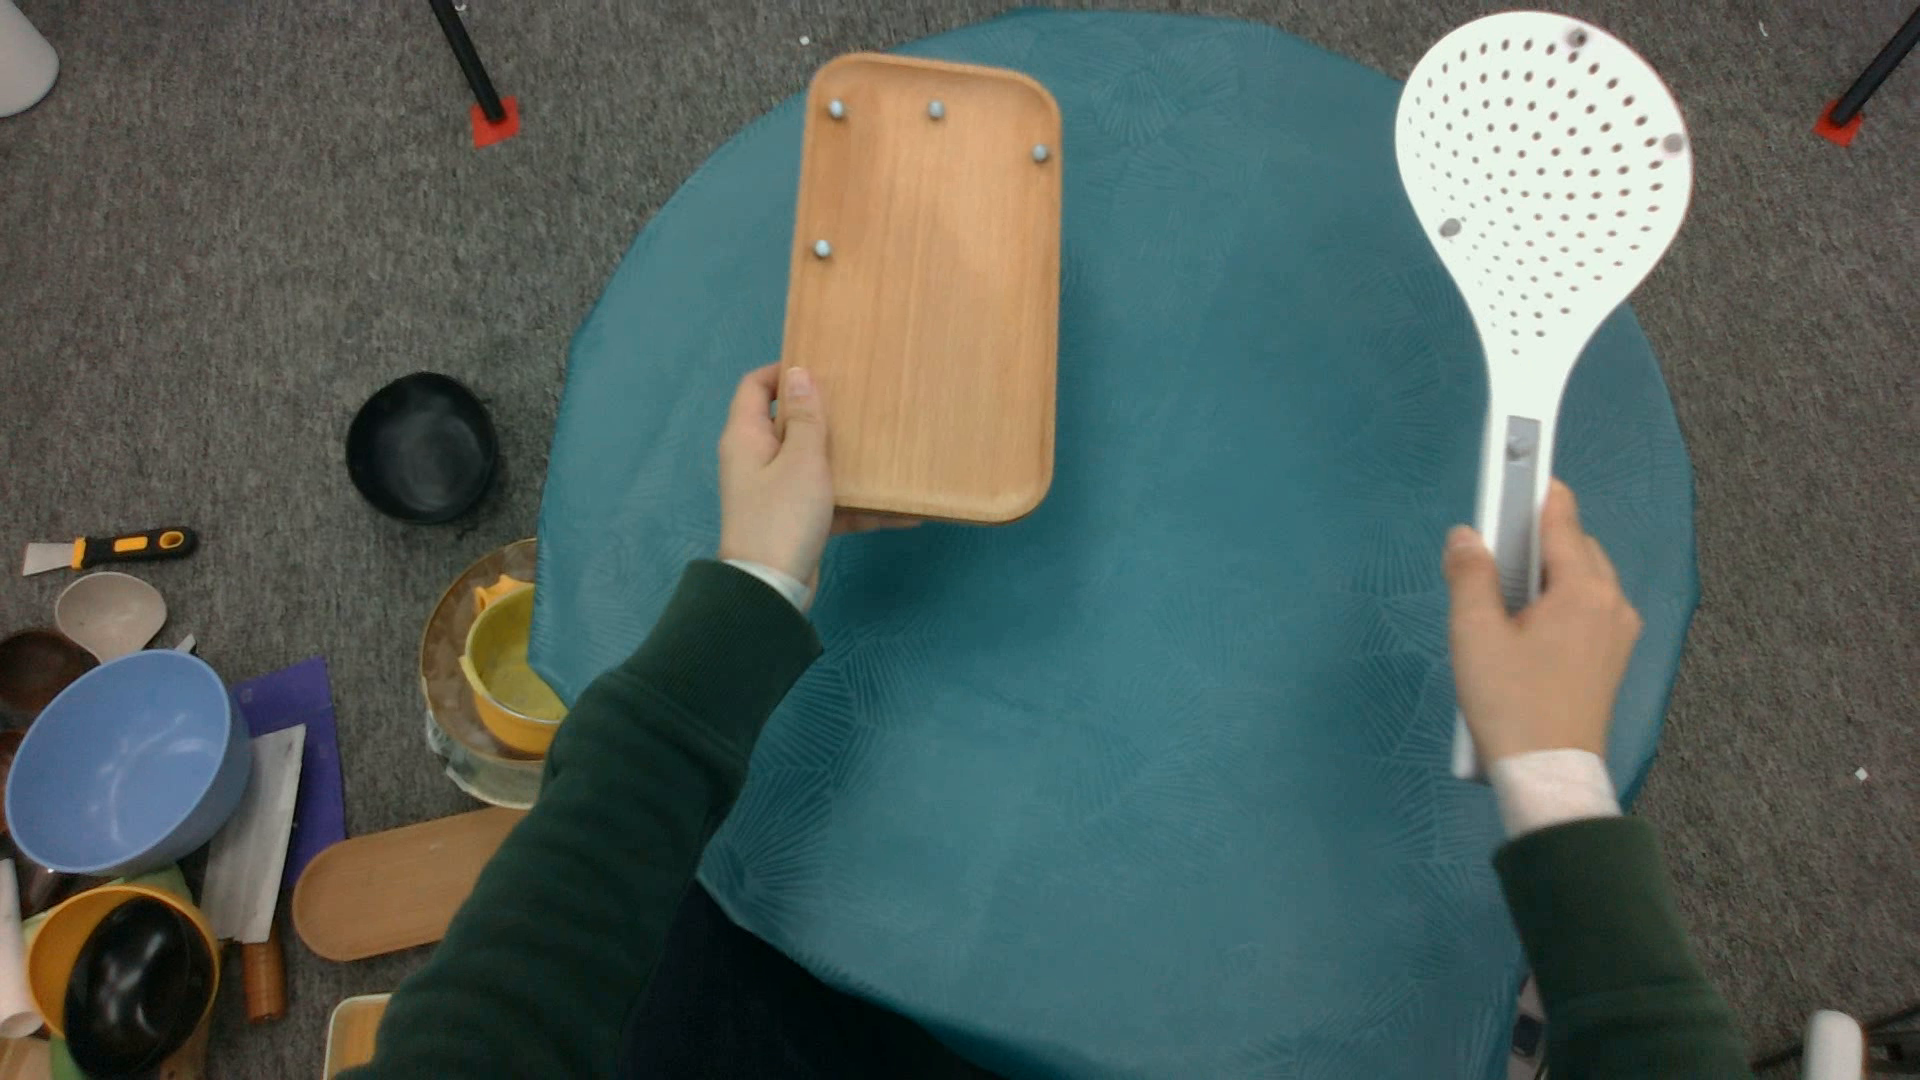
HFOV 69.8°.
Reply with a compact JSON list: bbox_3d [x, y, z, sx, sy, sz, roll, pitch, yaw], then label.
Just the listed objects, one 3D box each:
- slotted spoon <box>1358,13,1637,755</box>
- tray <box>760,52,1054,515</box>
[{"bbox_3d":[0.230,-0.079,0.616,0.136,0.045,0.351,11,71,-5],"label":"slotted spoon"},{"bbox_3d":[-0.021,-0.129,0.666,0.130,0.023,0.251,6,67,-4],"label":"tray"}]
